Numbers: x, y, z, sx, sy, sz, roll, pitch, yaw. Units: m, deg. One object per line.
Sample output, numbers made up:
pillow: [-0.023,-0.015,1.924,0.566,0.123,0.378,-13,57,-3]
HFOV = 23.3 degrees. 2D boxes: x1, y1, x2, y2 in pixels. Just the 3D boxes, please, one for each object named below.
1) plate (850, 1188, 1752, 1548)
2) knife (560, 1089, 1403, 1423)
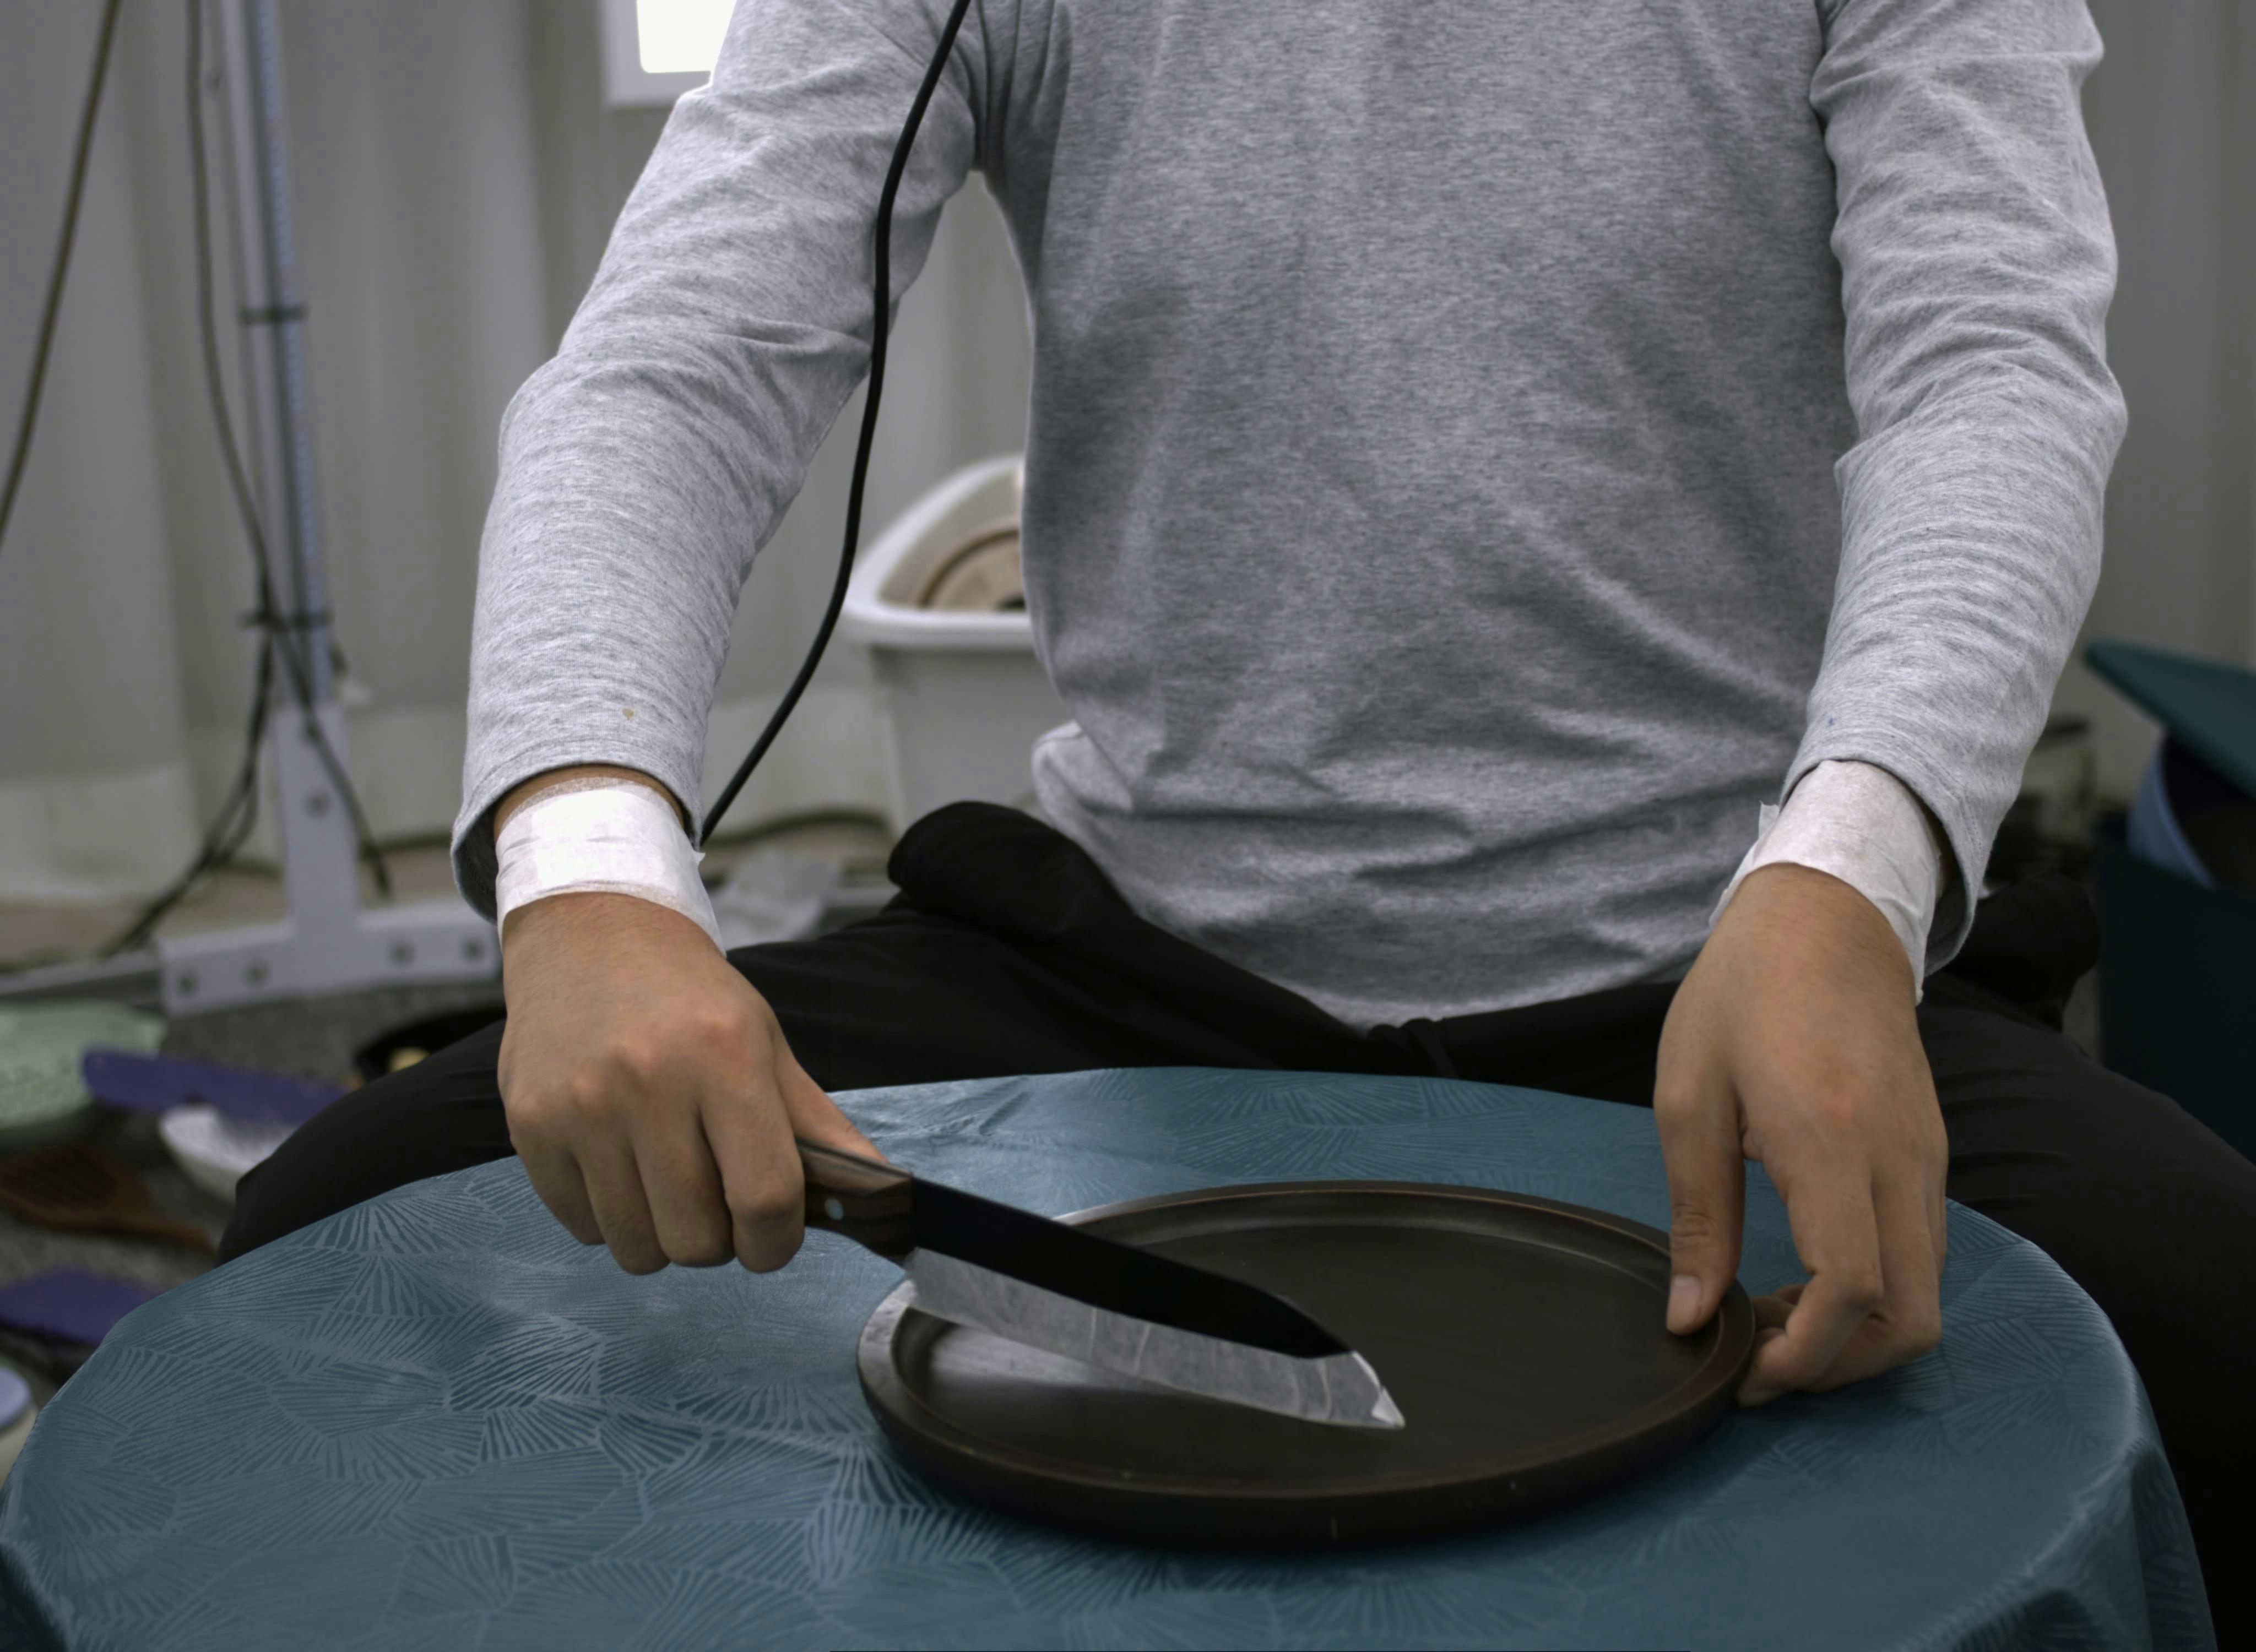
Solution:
plate: [0.049,0.149,1.532,0.254,0.029,0.256,-4,13,1]
knife: [-0.045,0.120,1.538,0.290,0.050,0.020,16,33,32]
